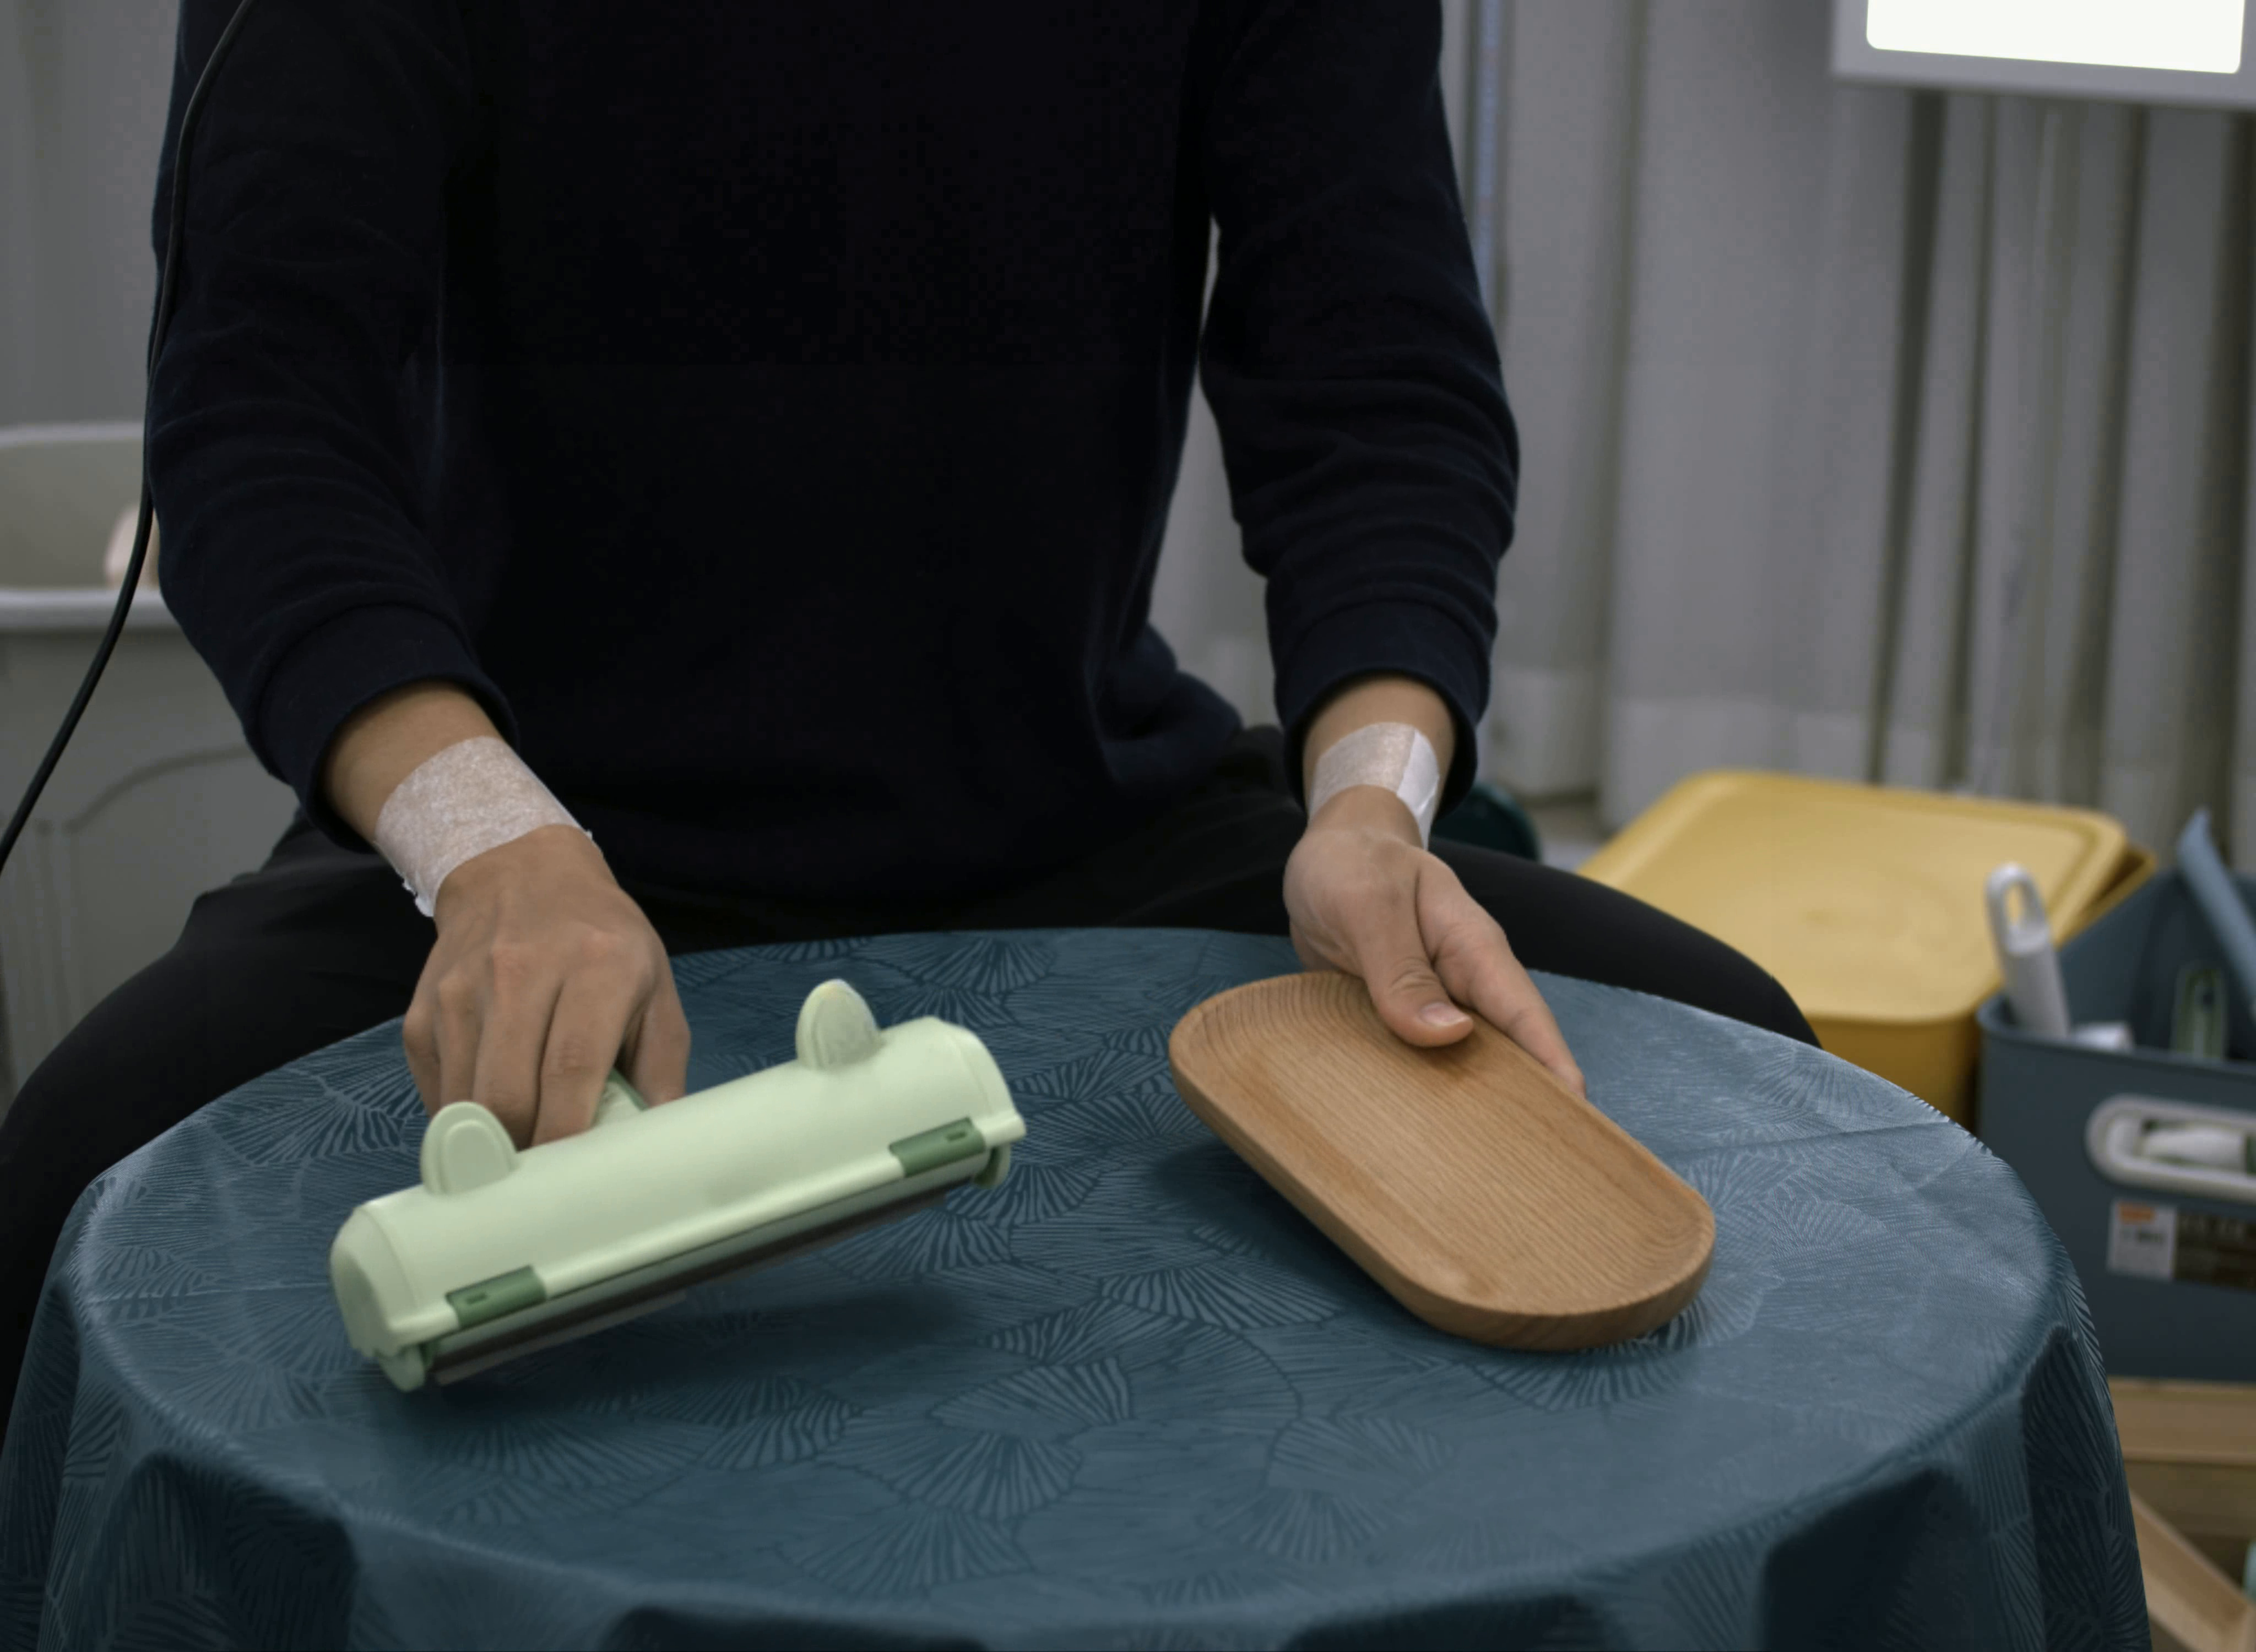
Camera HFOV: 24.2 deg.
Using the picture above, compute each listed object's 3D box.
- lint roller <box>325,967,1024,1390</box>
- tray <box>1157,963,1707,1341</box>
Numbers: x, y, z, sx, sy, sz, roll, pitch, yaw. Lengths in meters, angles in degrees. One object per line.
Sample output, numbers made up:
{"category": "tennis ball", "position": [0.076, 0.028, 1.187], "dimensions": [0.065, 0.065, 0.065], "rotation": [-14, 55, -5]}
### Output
{"category": "lint roller", "position": [-0.155, 0.071, 1.520], "dimensions": [0.199, 0.083, 0.181], "rotation": [-19, 37, -23]}
{"category": "tray", "position": [0.089, 0.096, 1.590], "dimensions": [0.102, 0.020, 0.228], "rotation": [-12, 26, -24]}
